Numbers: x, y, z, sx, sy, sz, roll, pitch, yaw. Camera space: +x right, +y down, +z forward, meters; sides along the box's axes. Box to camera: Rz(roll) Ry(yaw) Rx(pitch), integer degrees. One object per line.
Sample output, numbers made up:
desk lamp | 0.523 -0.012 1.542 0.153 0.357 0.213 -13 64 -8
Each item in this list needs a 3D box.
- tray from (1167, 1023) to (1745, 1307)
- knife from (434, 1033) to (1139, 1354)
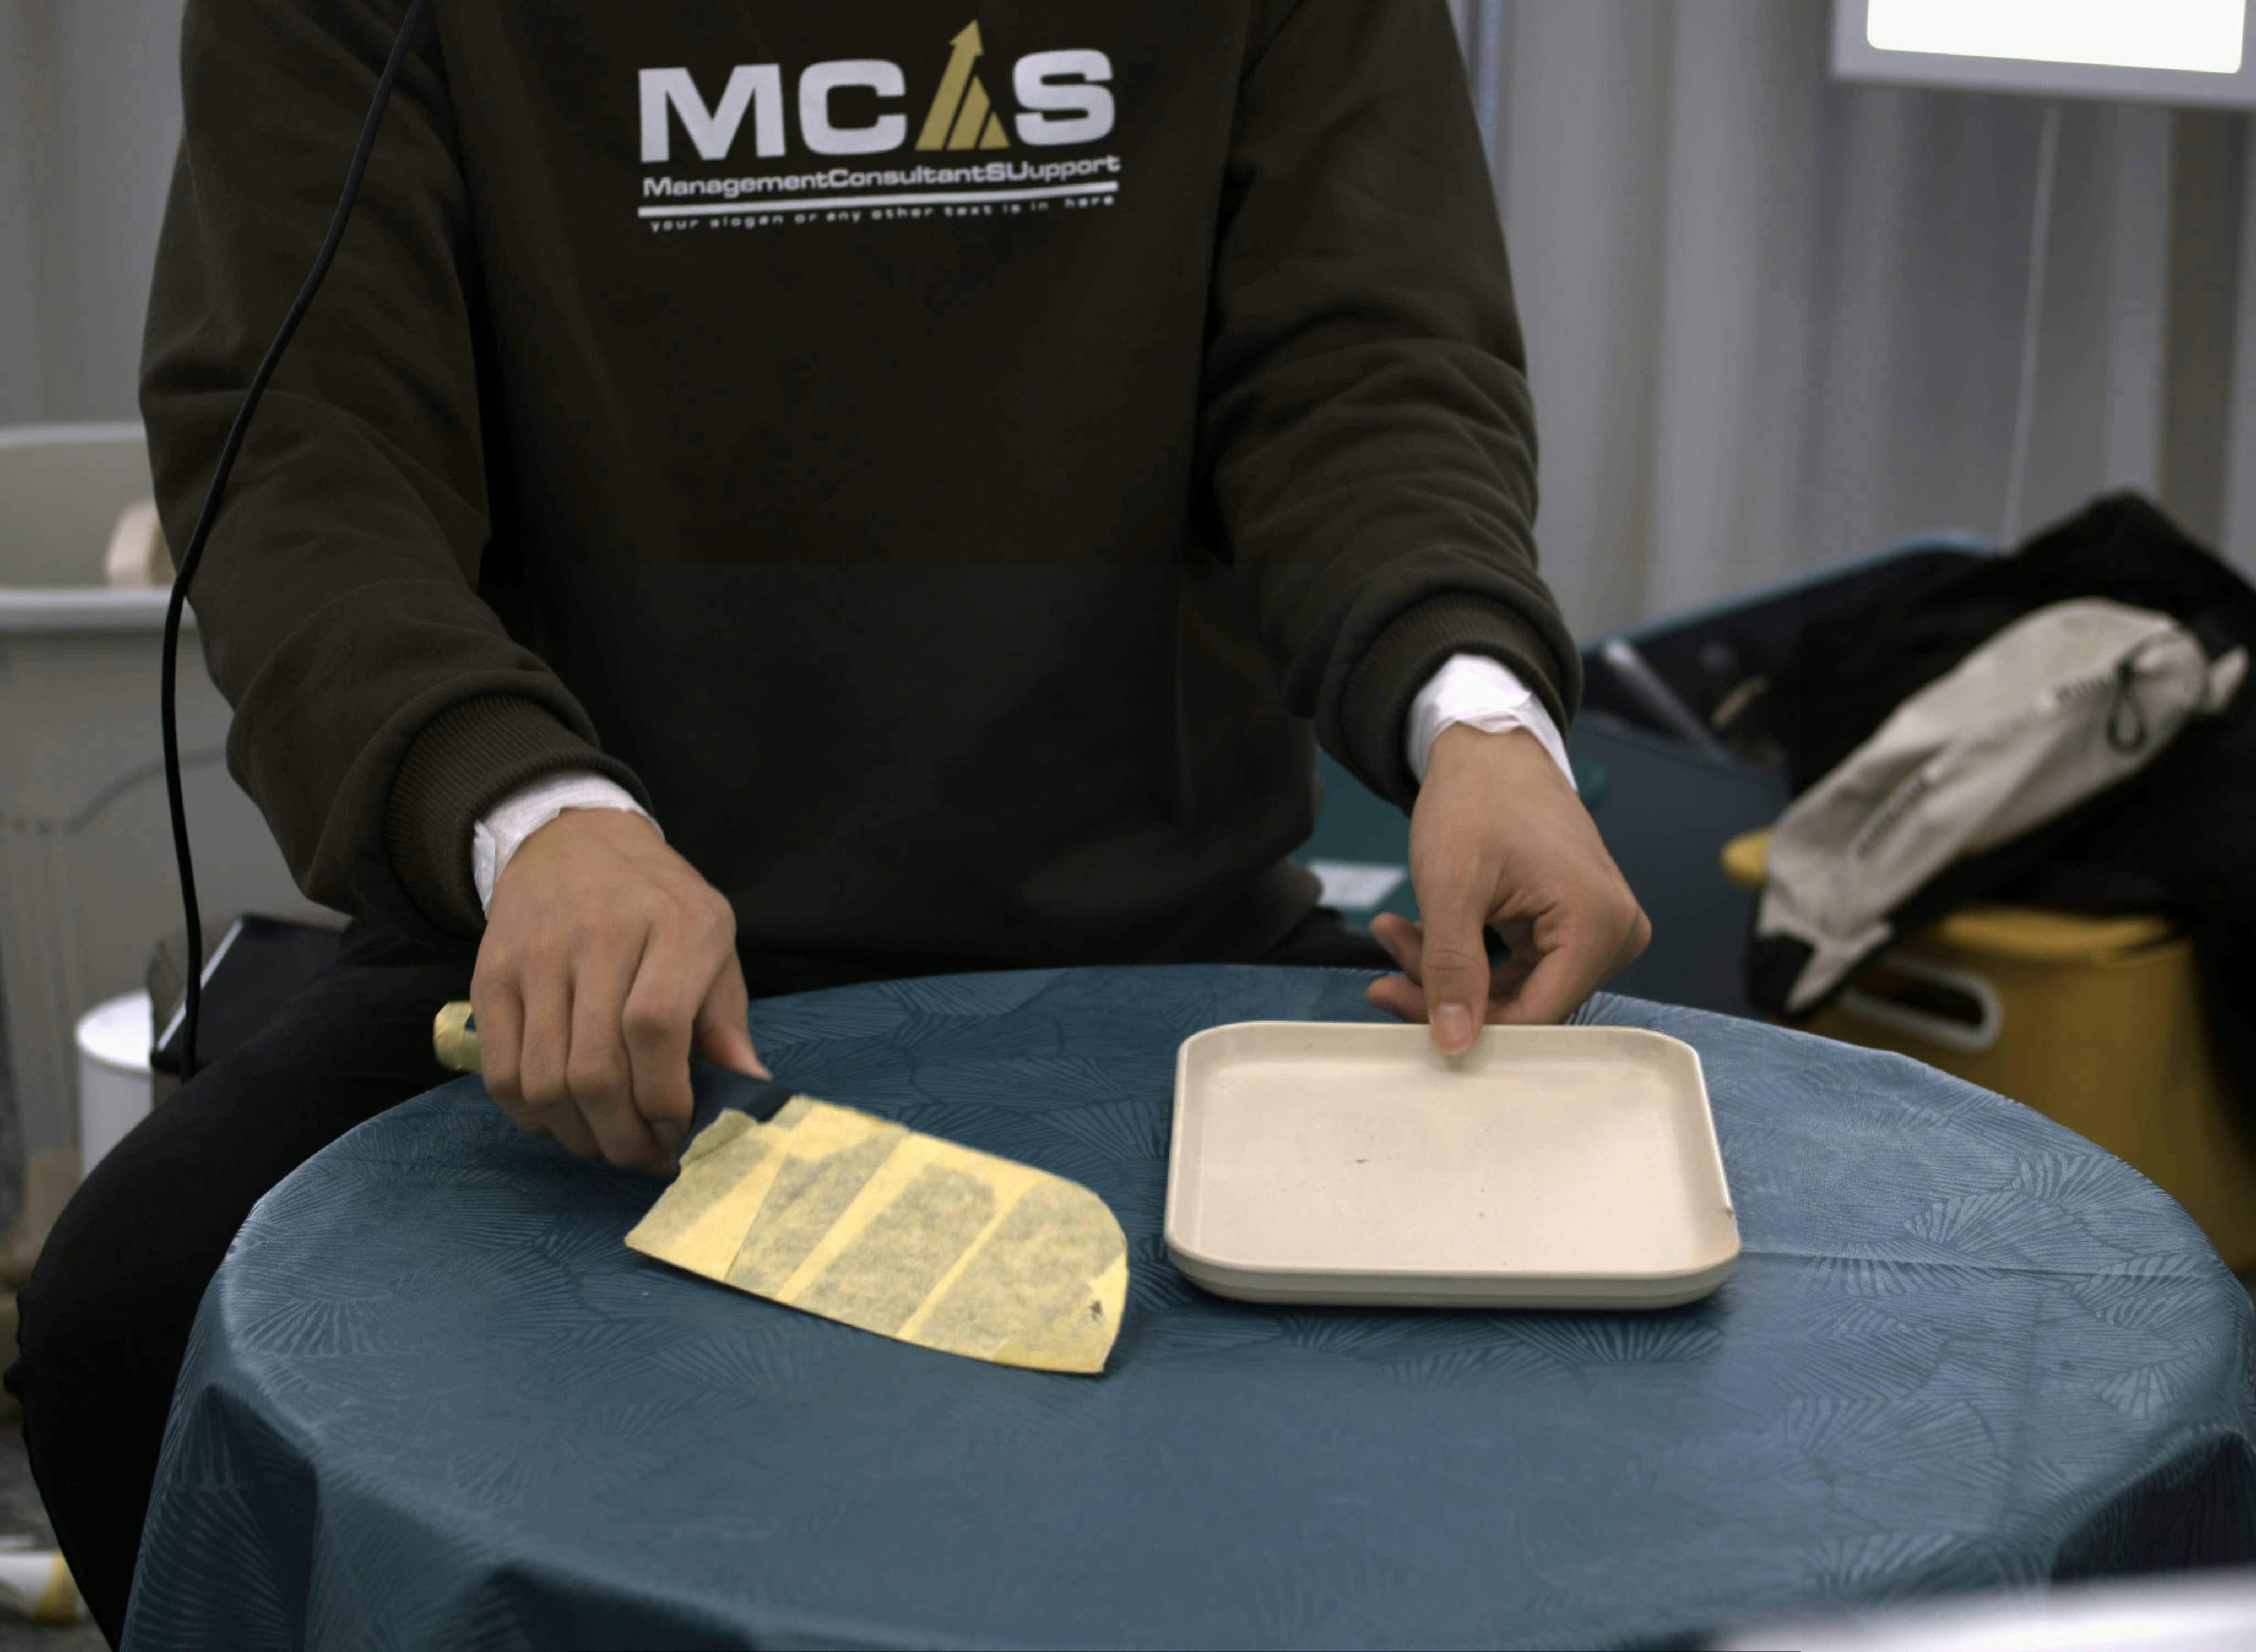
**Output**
tray | 0.098 0.103 1.627 0.170 0.017 0.238 0 15 1
knife | -0.110 0.108 1.564 0.285 0.027 0.081 15 45 37
